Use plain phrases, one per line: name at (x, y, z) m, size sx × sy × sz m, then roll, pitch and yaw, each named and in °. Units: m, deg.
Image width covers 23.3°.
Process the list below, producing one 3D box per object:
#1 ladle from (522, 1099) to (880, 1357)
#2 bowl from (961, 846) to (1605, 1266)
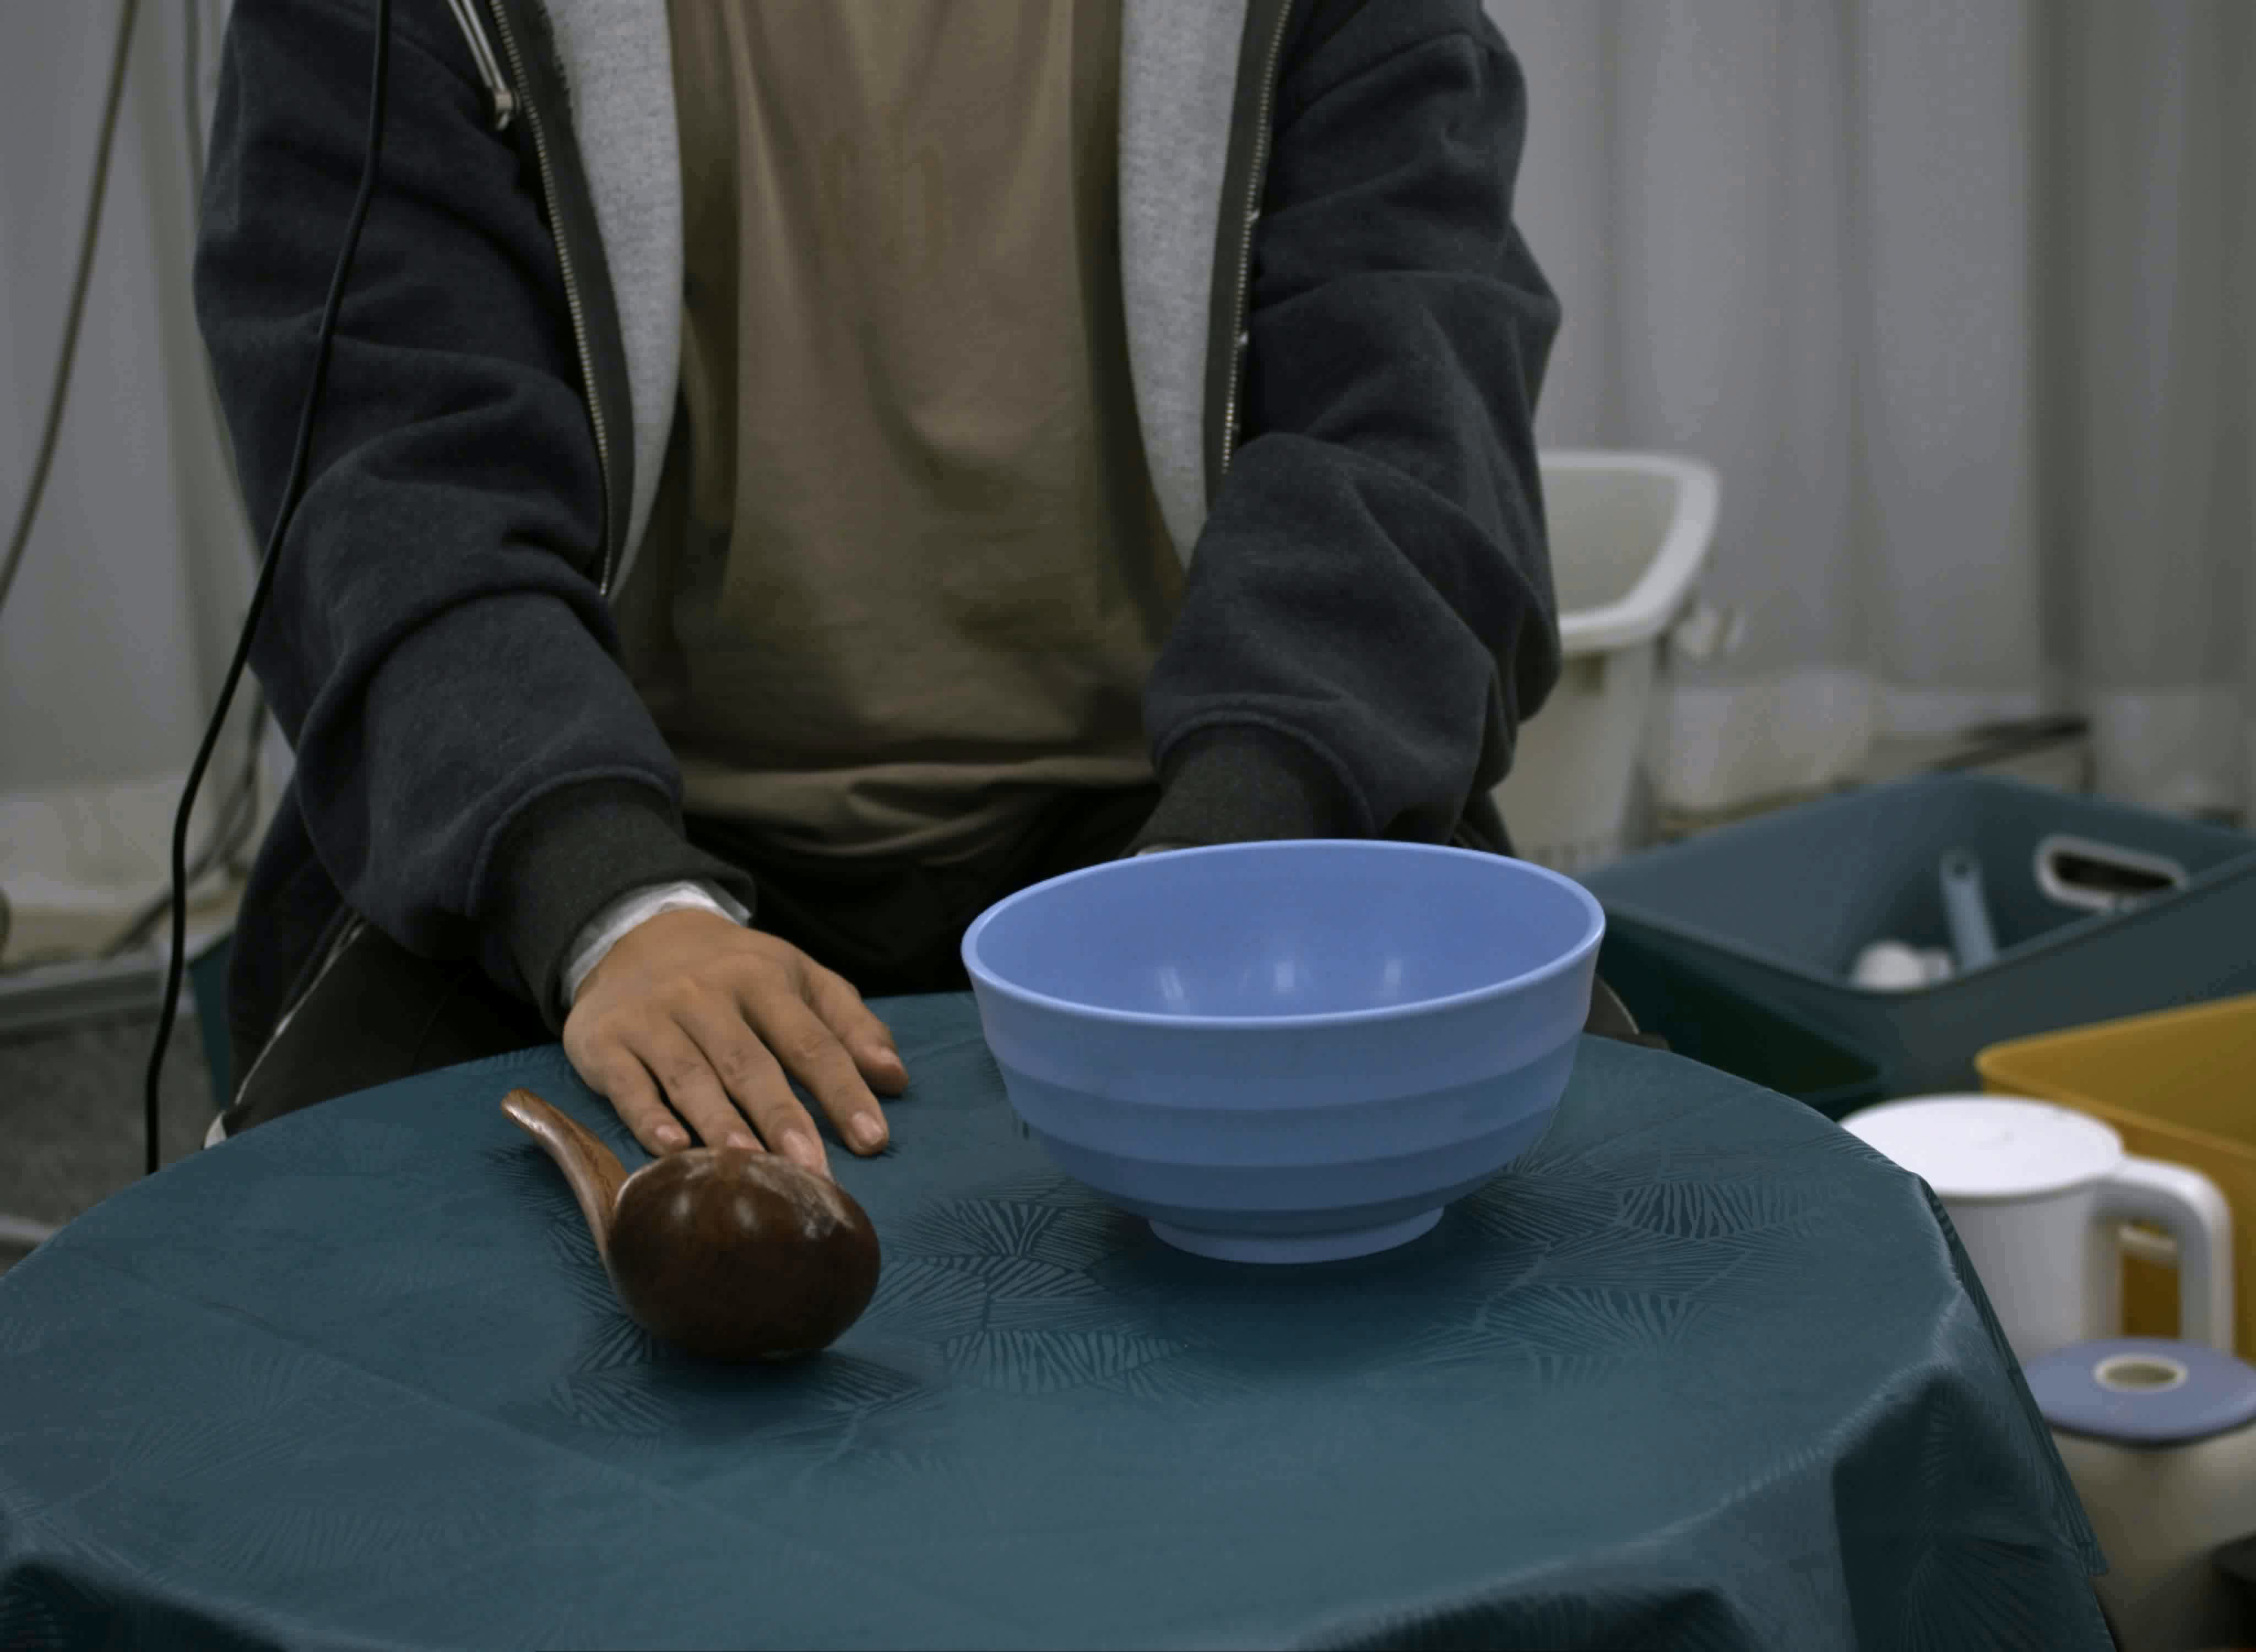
ladle at (-0.140, 0.099, 1.667) m, size 0.081 × 0.076 × 0.276 m, roll 34°, pitch 2°, yaw -19°
bowl at (0.050, 0.075, 1.674) m, size 0.196 × 0.095 × 0.198 m, roll -4°, pitch 14°, yaw 1°
